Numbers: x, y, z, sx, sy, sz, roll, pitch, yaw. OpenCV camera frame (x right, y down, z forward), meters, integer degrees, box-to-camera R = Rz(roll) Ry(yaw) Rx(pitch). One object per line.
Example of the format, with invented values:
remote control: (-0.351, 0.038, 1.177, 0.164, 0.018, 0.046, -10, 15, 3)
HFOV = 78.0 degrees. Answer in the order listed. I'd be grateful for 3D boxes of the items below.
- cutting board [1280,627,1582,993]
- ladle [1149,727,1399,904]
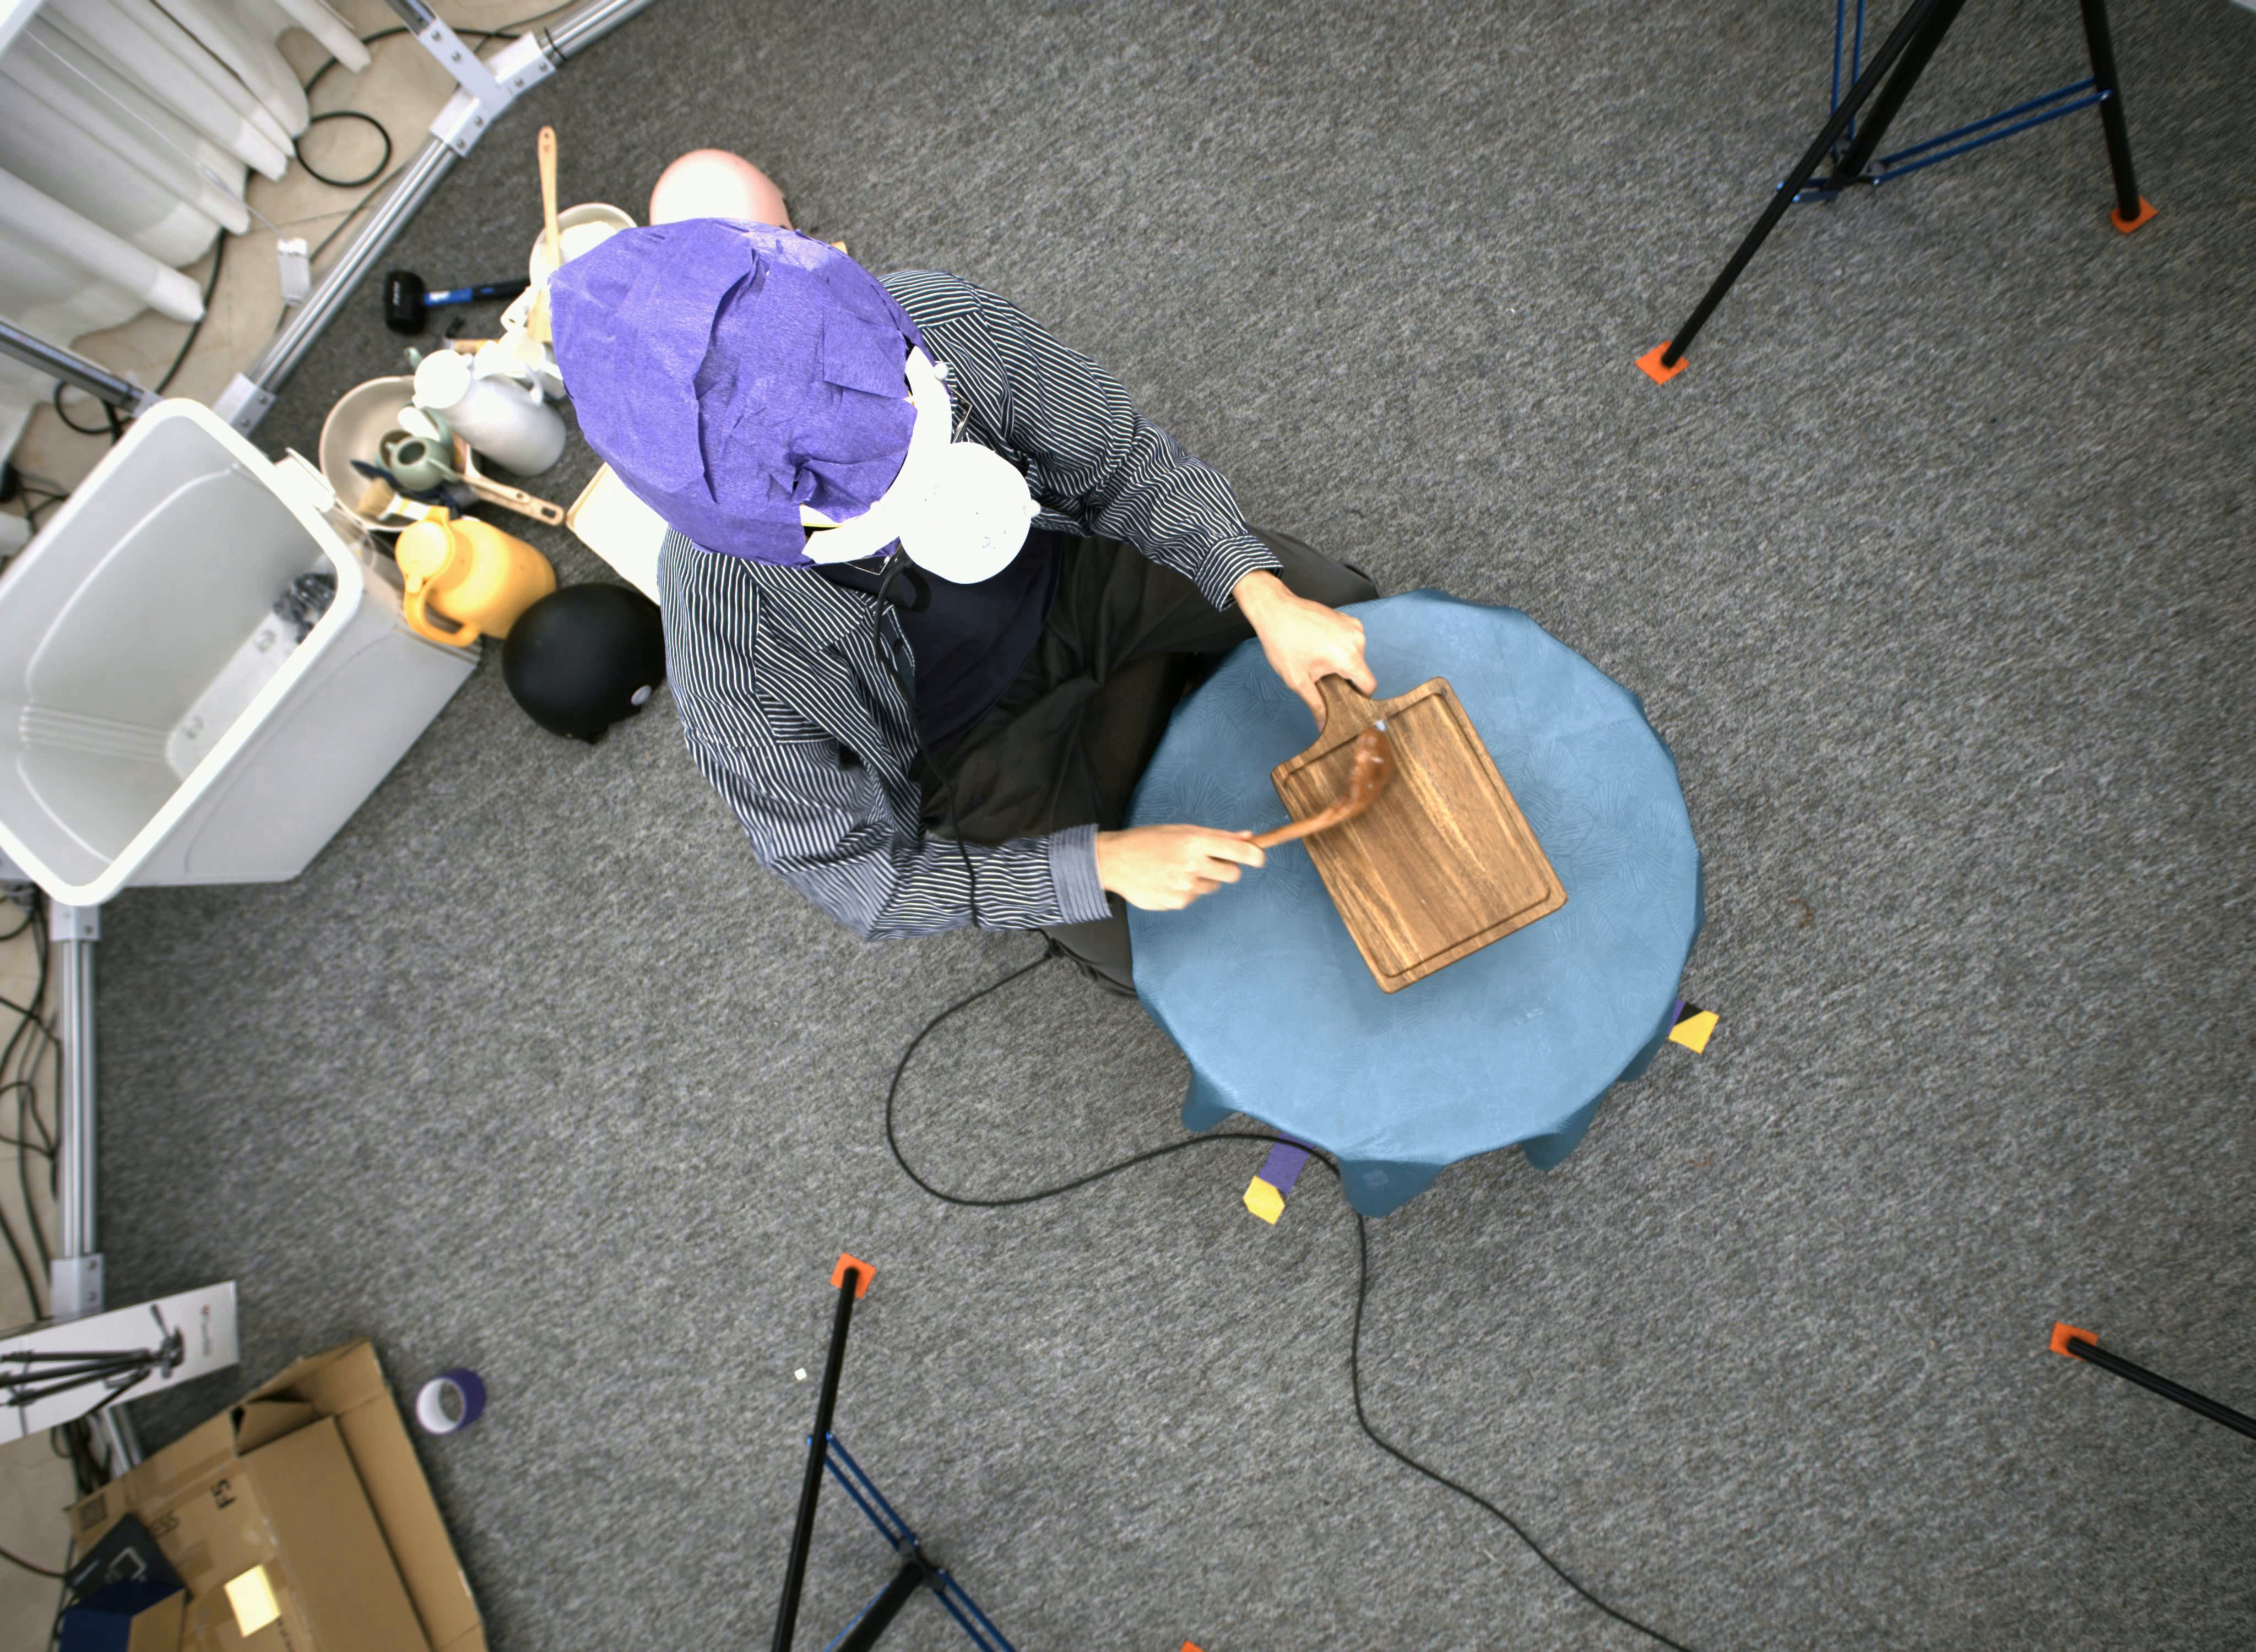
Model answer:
cutting board: (0.264, -0.038, 1.319, 0.203, 0.023, 0.349, -29, 80, 17)
ladle: (0.132, -0.011, 1.314, 0.277, 0.082, 0.076, -23, 76, 17)
